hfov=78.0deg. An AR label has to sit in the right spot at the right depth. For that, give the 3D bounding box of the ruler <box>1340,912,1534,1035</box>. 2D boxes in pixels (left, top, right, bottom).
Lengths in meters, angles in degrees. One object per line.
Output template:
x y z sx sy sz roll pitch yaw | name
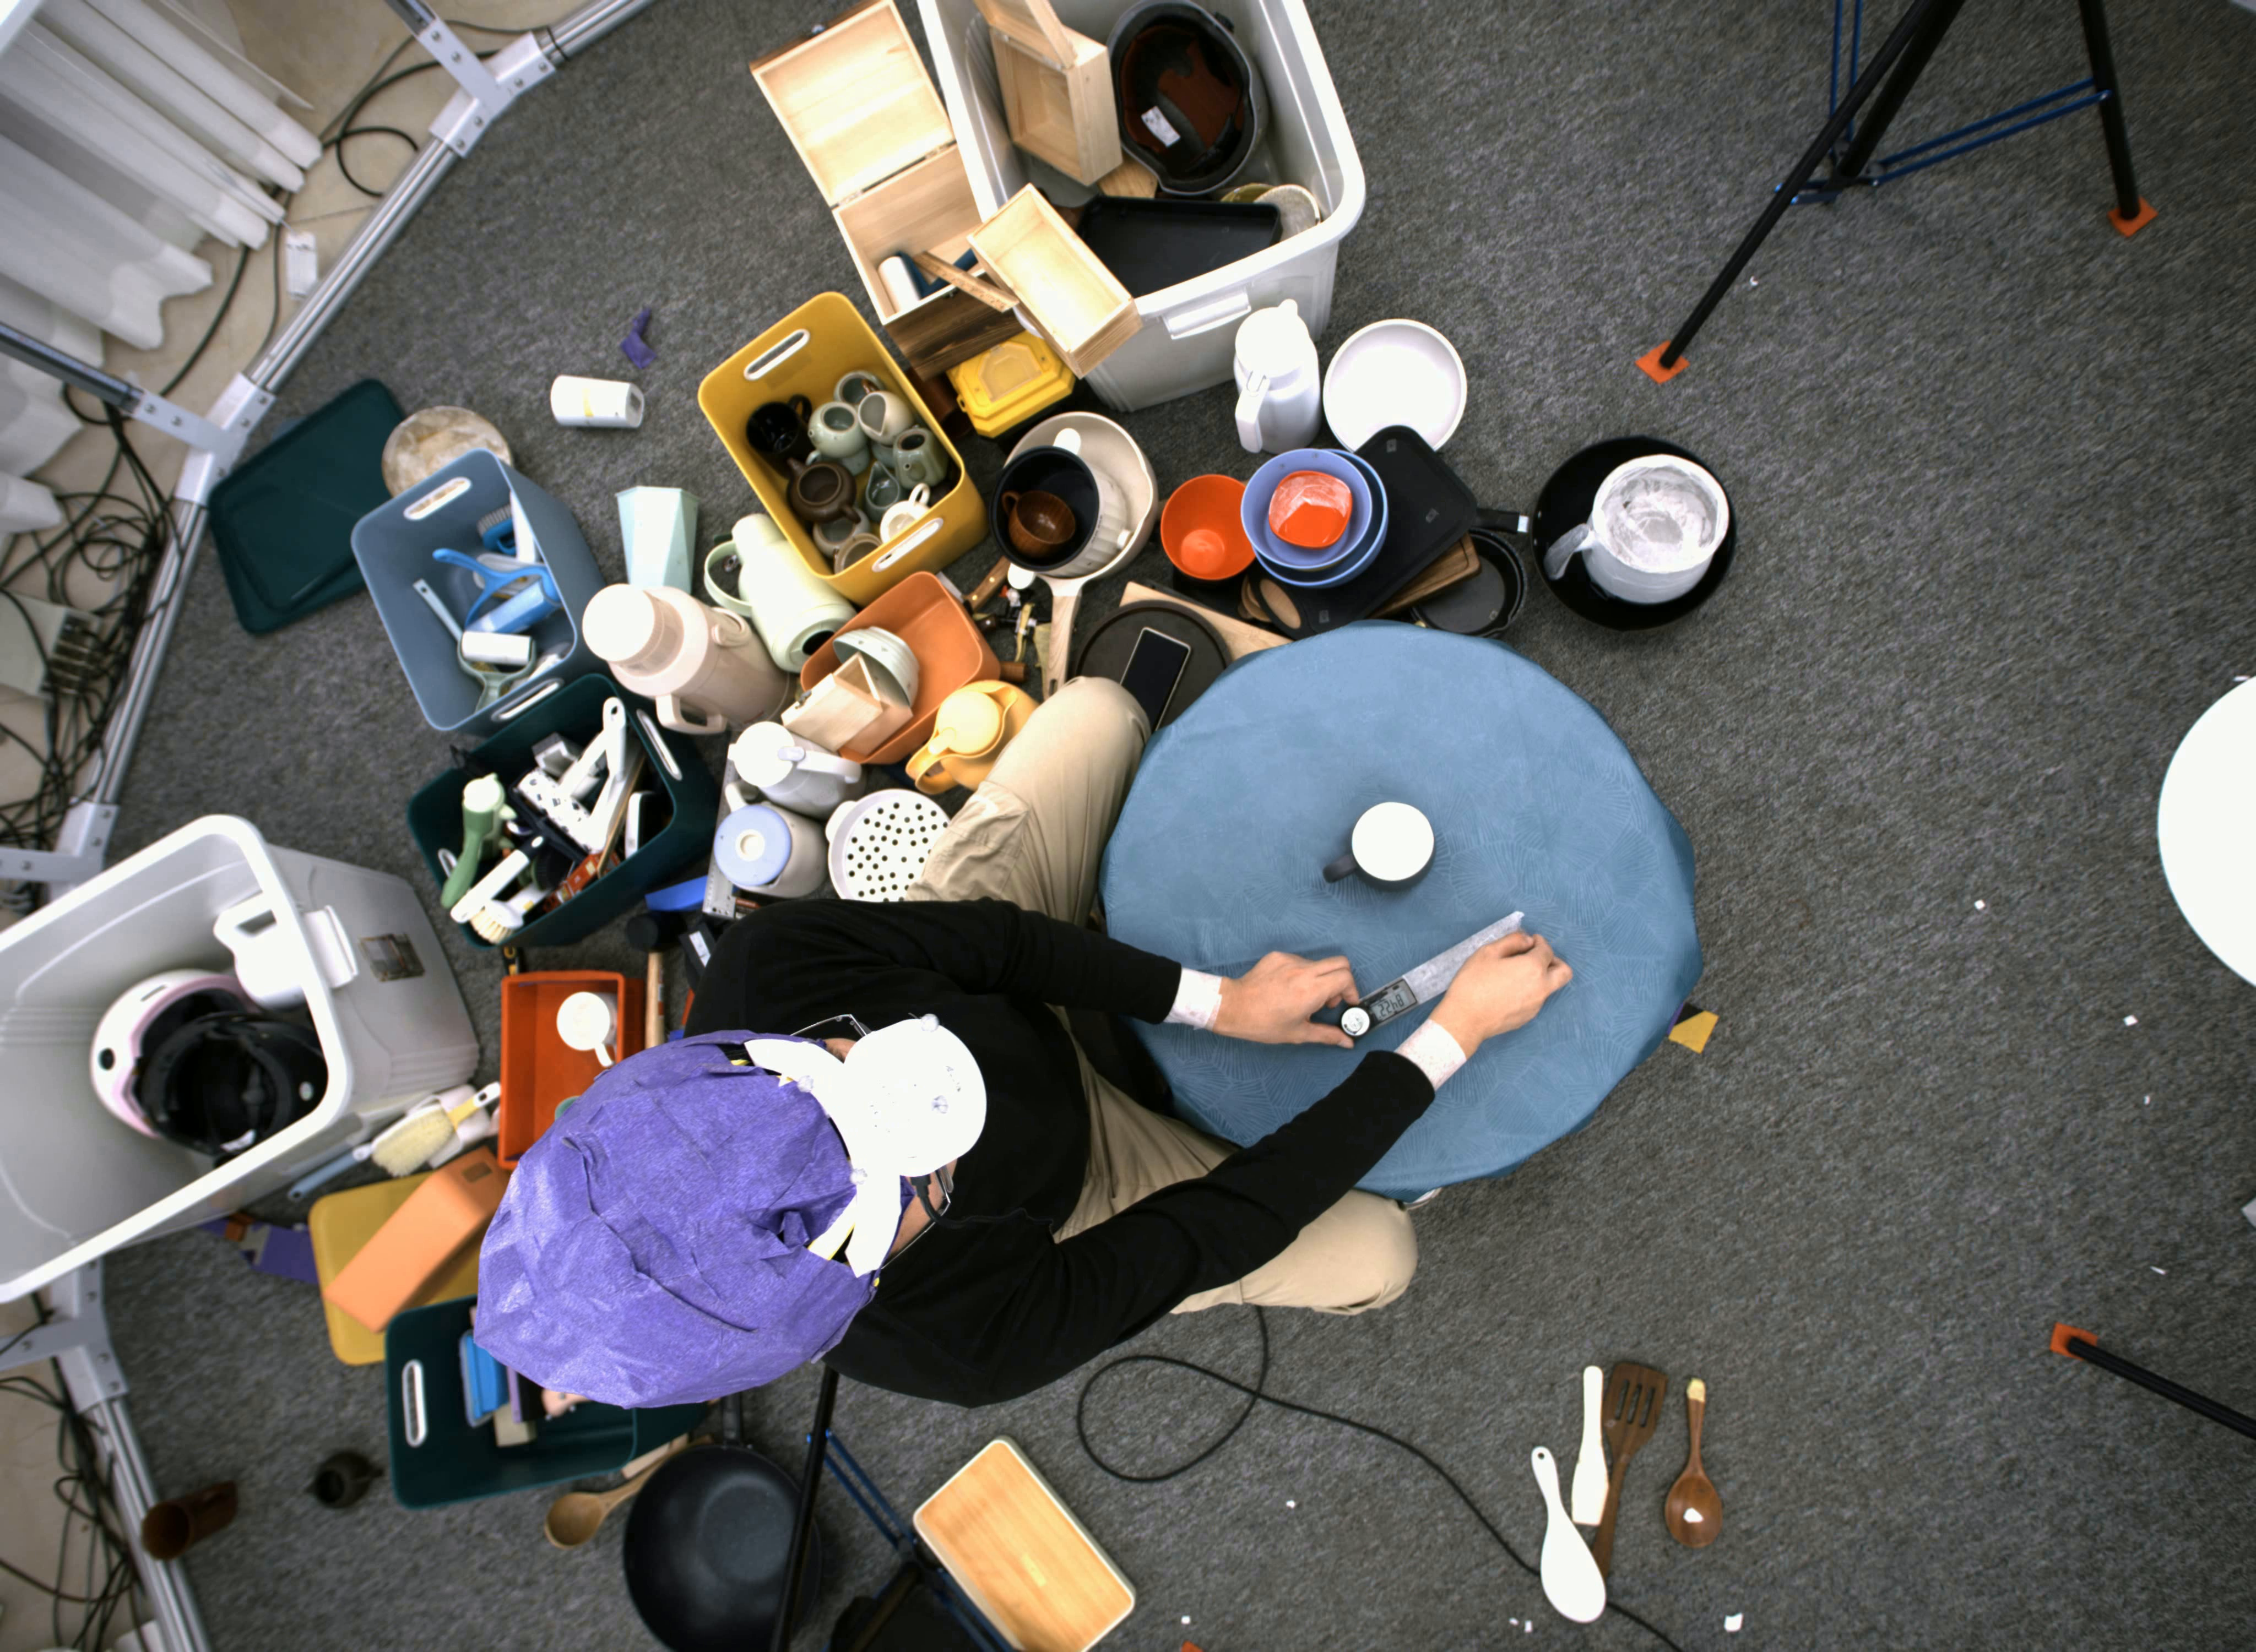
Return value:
0.319 0.155 1.435 0.219 0.024 0.038 -30 93 9 | ruler

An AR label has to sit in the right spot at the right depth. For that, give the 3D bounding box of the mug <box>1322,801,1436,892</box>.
0.257 0.024 1.418 0.124 0.090 0.093 -24 81 7 | mug
